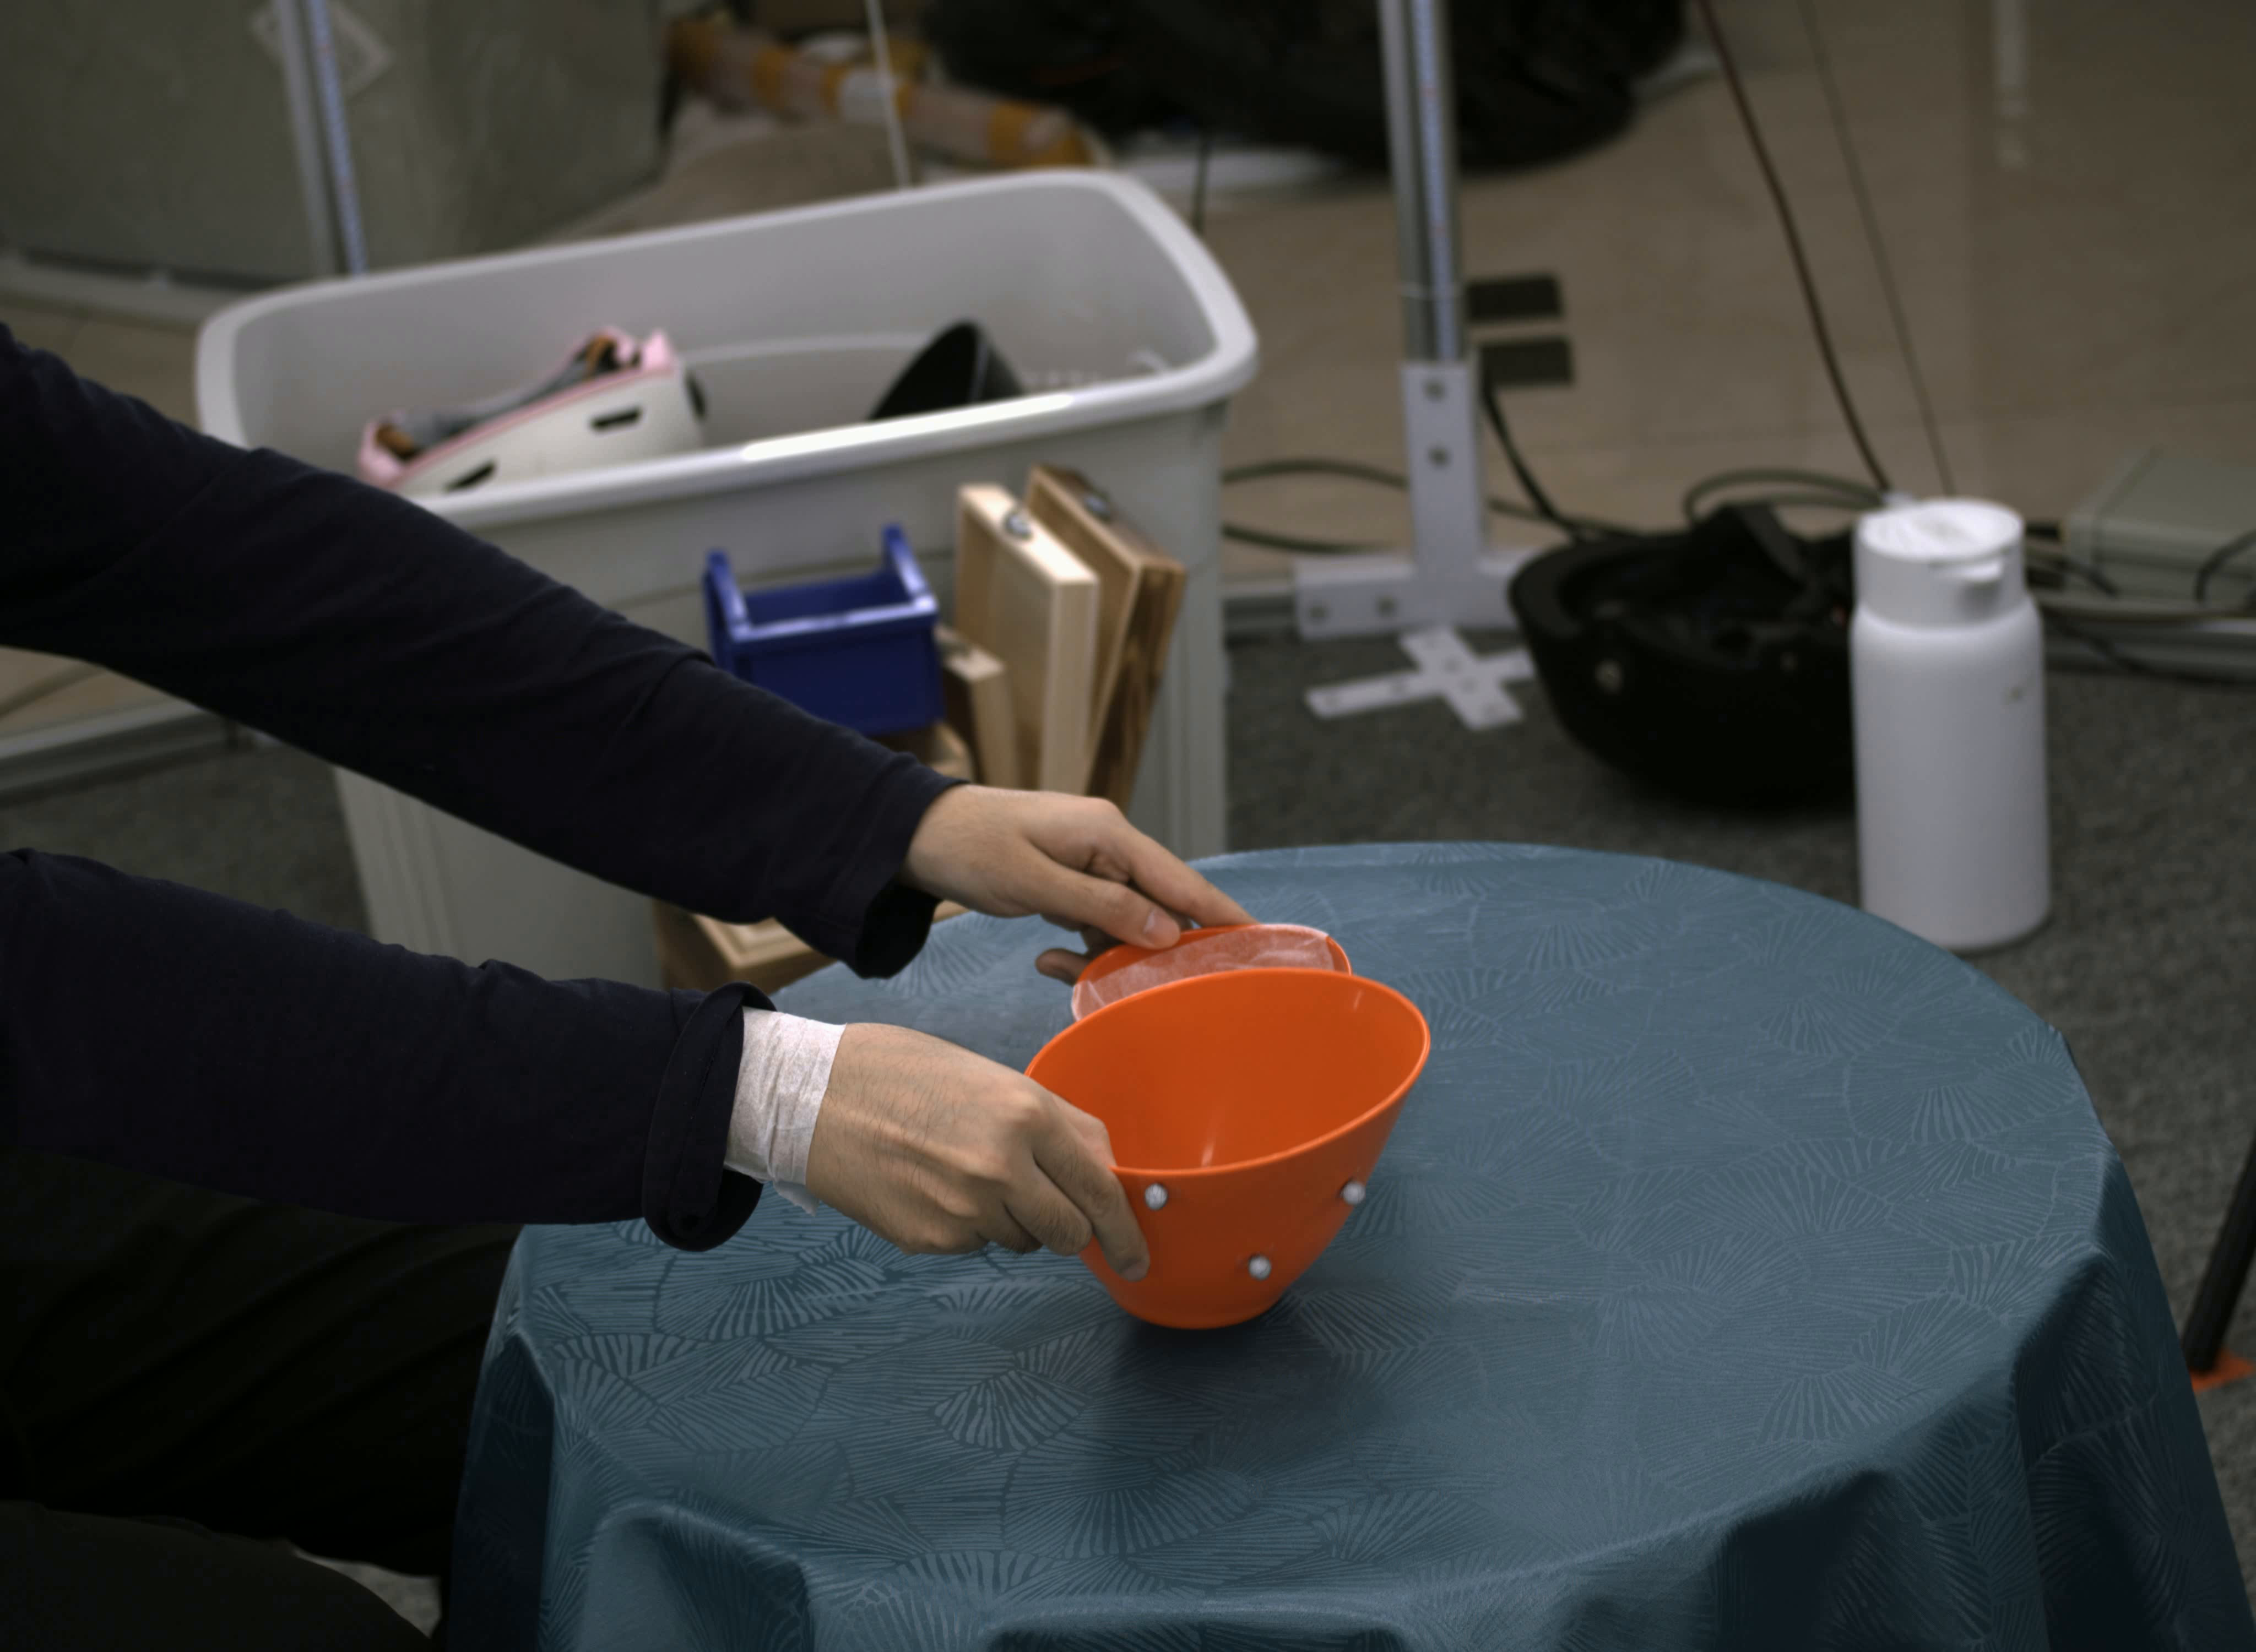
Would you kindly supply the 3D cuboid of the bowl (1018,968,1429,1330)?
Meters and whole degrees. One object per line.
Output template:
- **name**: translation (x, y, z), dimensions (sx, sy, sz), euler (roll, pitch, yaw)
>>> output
- **bowl**: translation (0.035, 0.122, 2.031), dimensions (0.148, 0.106, 0.145), euler (-2, 30, 1)

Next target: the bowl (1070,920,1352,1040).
- **bowl**: translation (0.034, 0.084, 2.200), dimensions (0.119, 0.052, 0.117), euler (-6, 27, 3)
